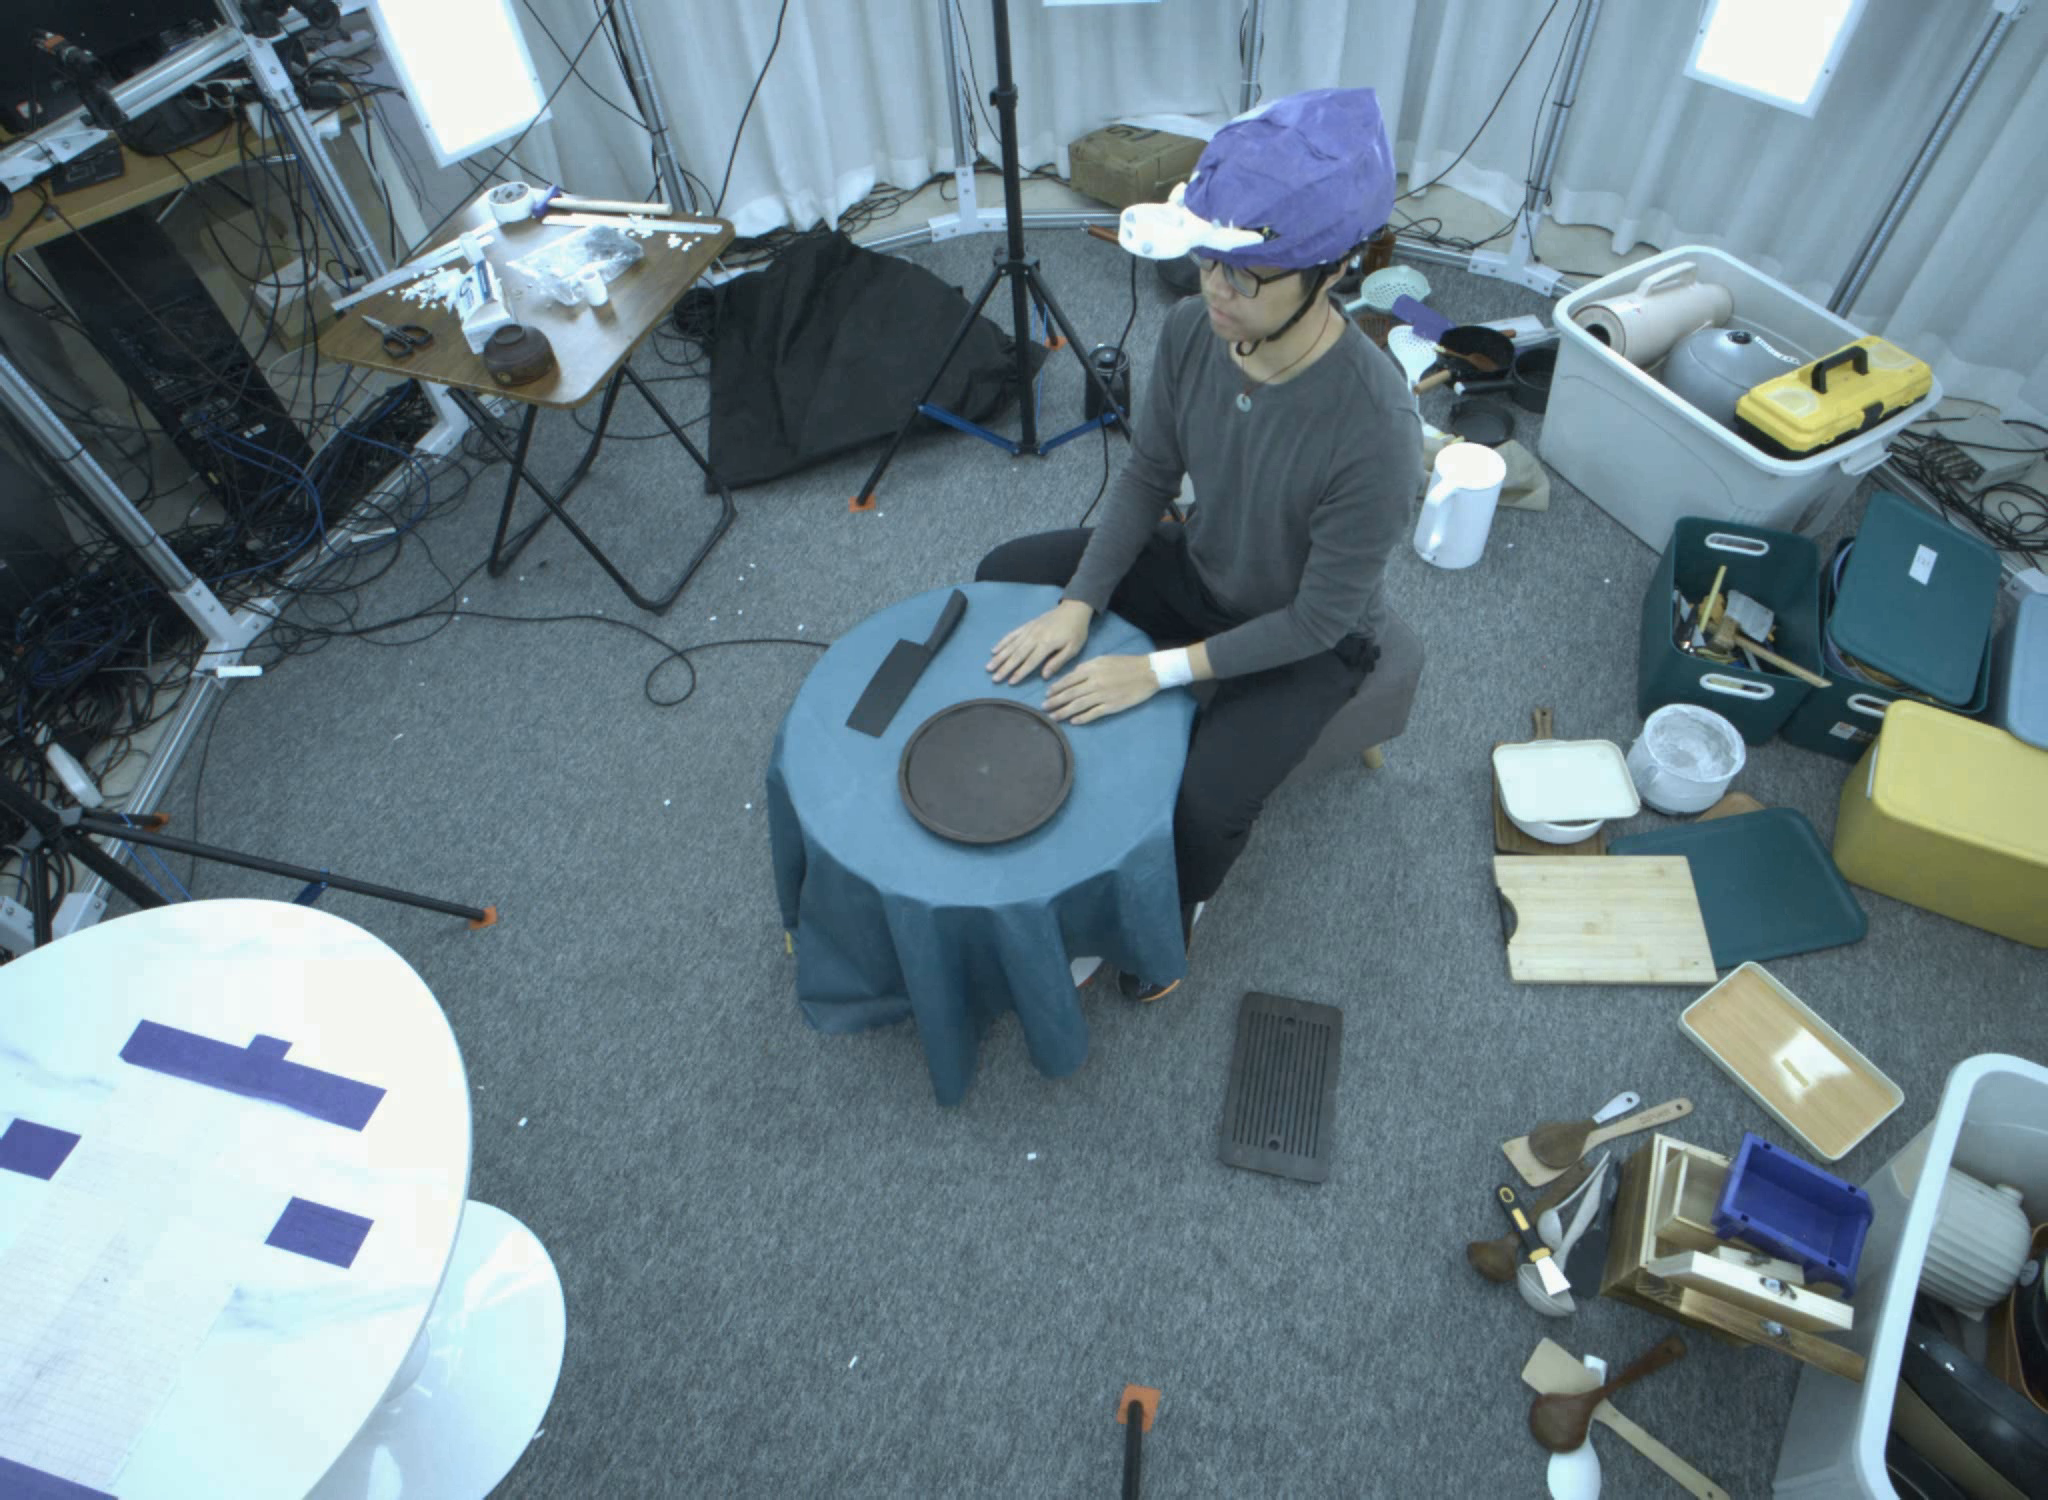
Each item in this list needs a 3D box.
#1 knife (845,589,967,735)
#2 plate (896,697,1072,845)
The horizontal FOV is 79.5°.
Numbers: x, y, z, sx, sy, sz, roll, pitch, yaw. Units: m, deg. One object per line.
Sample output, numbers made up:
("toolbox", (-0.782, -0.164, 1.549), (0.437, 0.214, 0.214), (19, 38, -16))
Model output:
("knife", (-0.176, -0.141, 1.892), (0.080, 0.021, 0.303), (24, 60, 19))
("plate", (-0.057, 0.028, 1.762), (0.254, 0.029, 0.252), (-1, 55, 2))
